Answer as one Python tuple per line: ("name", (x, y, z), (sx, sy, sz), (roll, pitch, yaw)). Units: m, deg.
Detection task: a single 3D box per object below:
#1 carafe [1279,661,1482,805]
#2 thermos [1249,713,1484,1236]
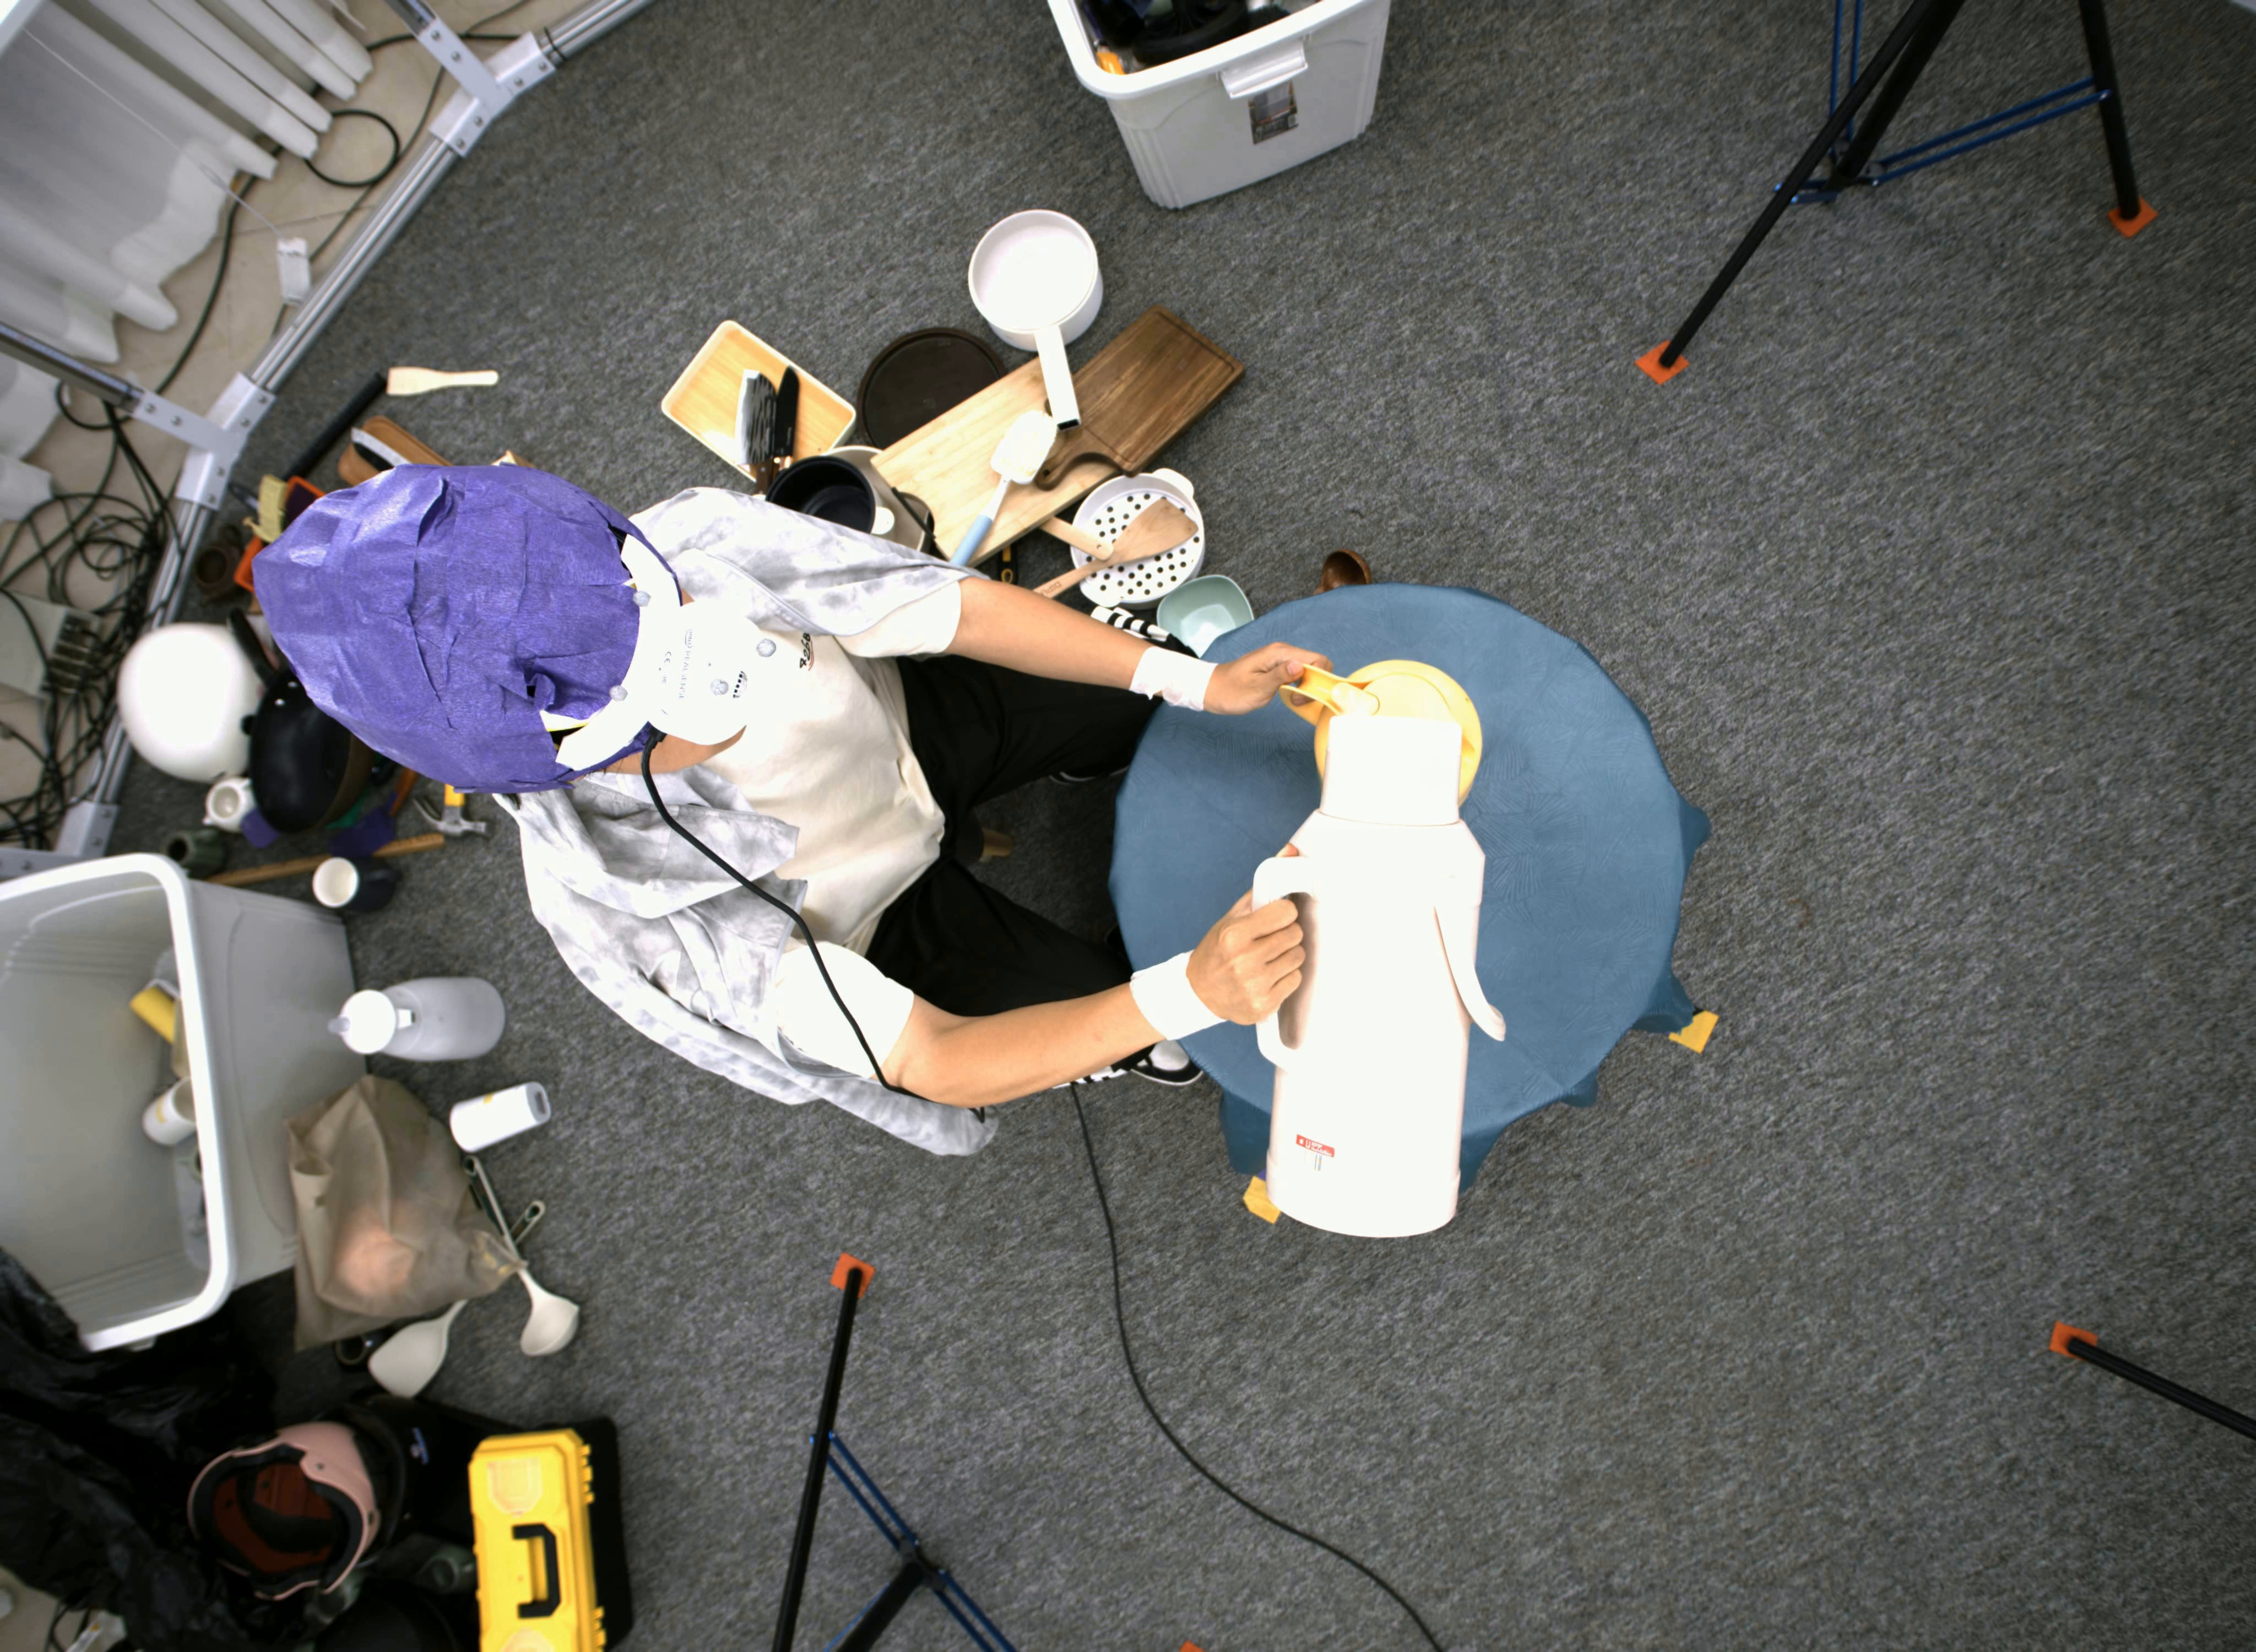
("carafe", (0.244, -0.090, 1.339), (0.202, 0.261, 0.163), (30, 88, 10))
("thermos", (0.188, 0.113, 1.117), (0.206, 0.175, 0.410), (-2, 102, -26))
